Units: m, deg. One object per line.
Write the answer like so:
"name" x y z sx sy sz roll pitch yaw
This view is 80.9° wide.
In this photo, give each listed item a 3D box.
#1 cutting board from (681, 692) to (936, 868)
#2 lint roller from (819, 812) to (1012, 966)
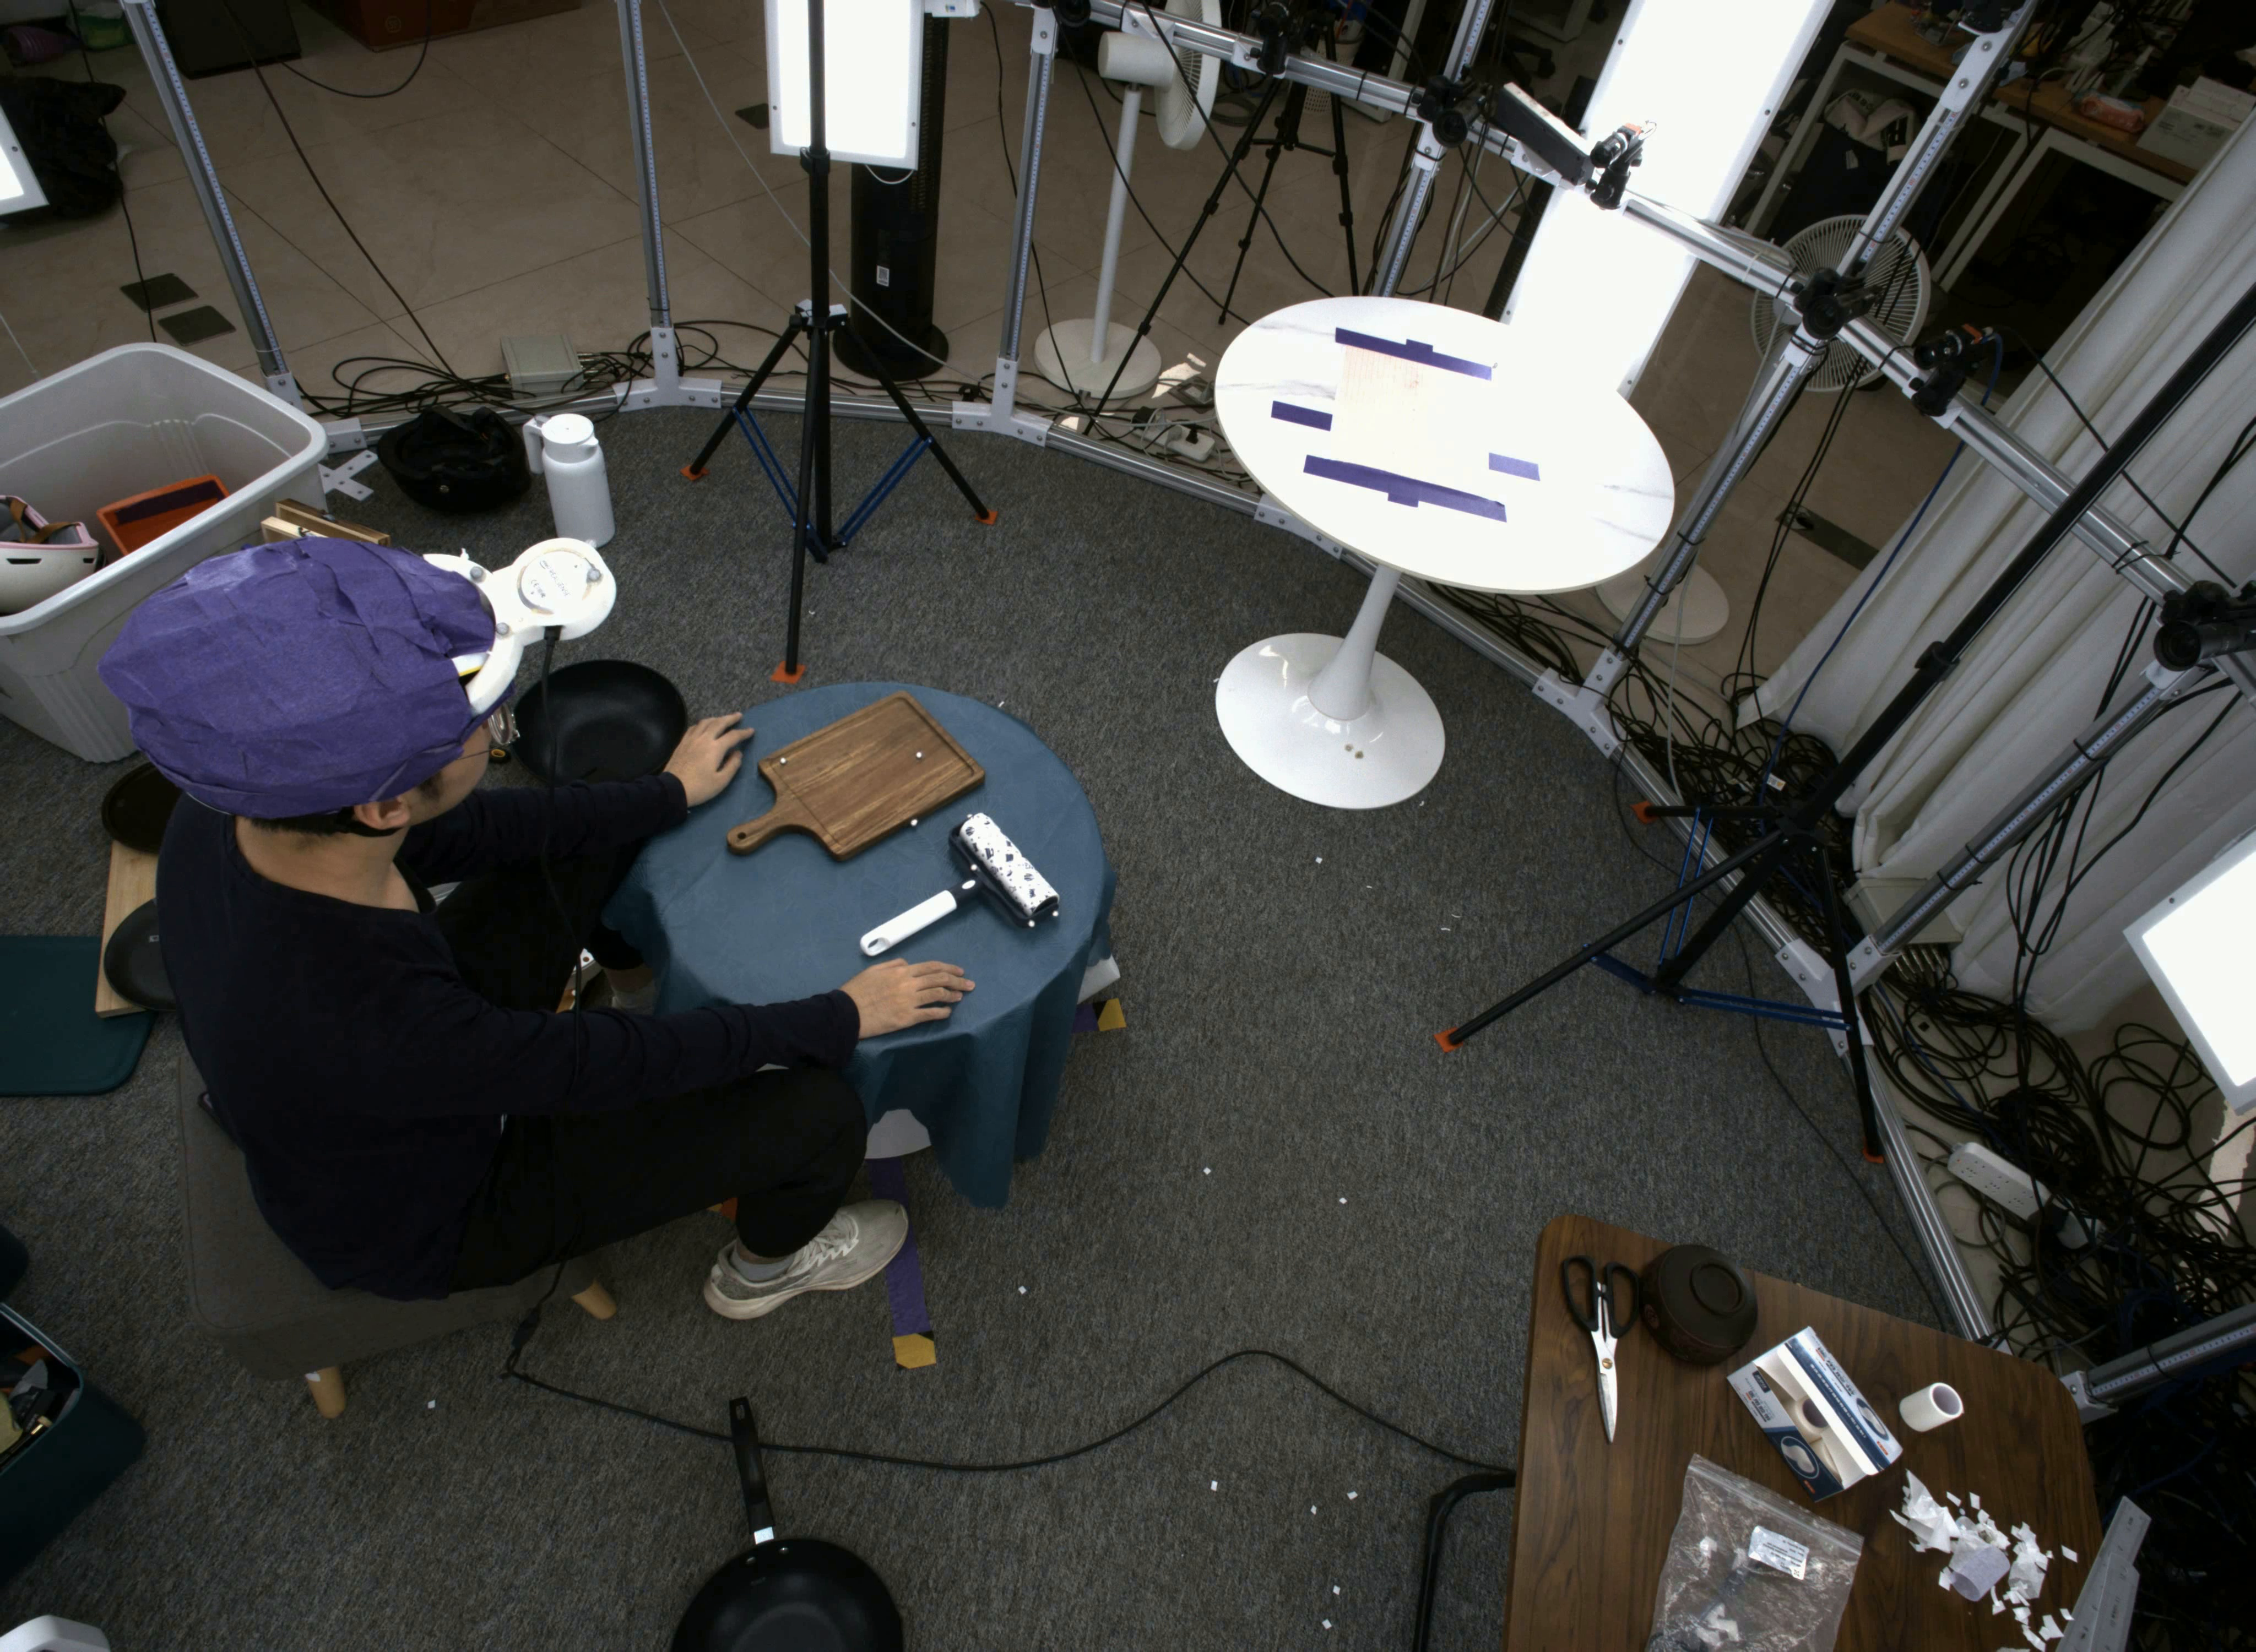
"cutting board" -0.451 -0.046 1.748 0.196 0.023 0.353 42 55 18
"lint roller" -0.290 0.099 1.668 0.247 0.051 0.172 -35 69 -30
